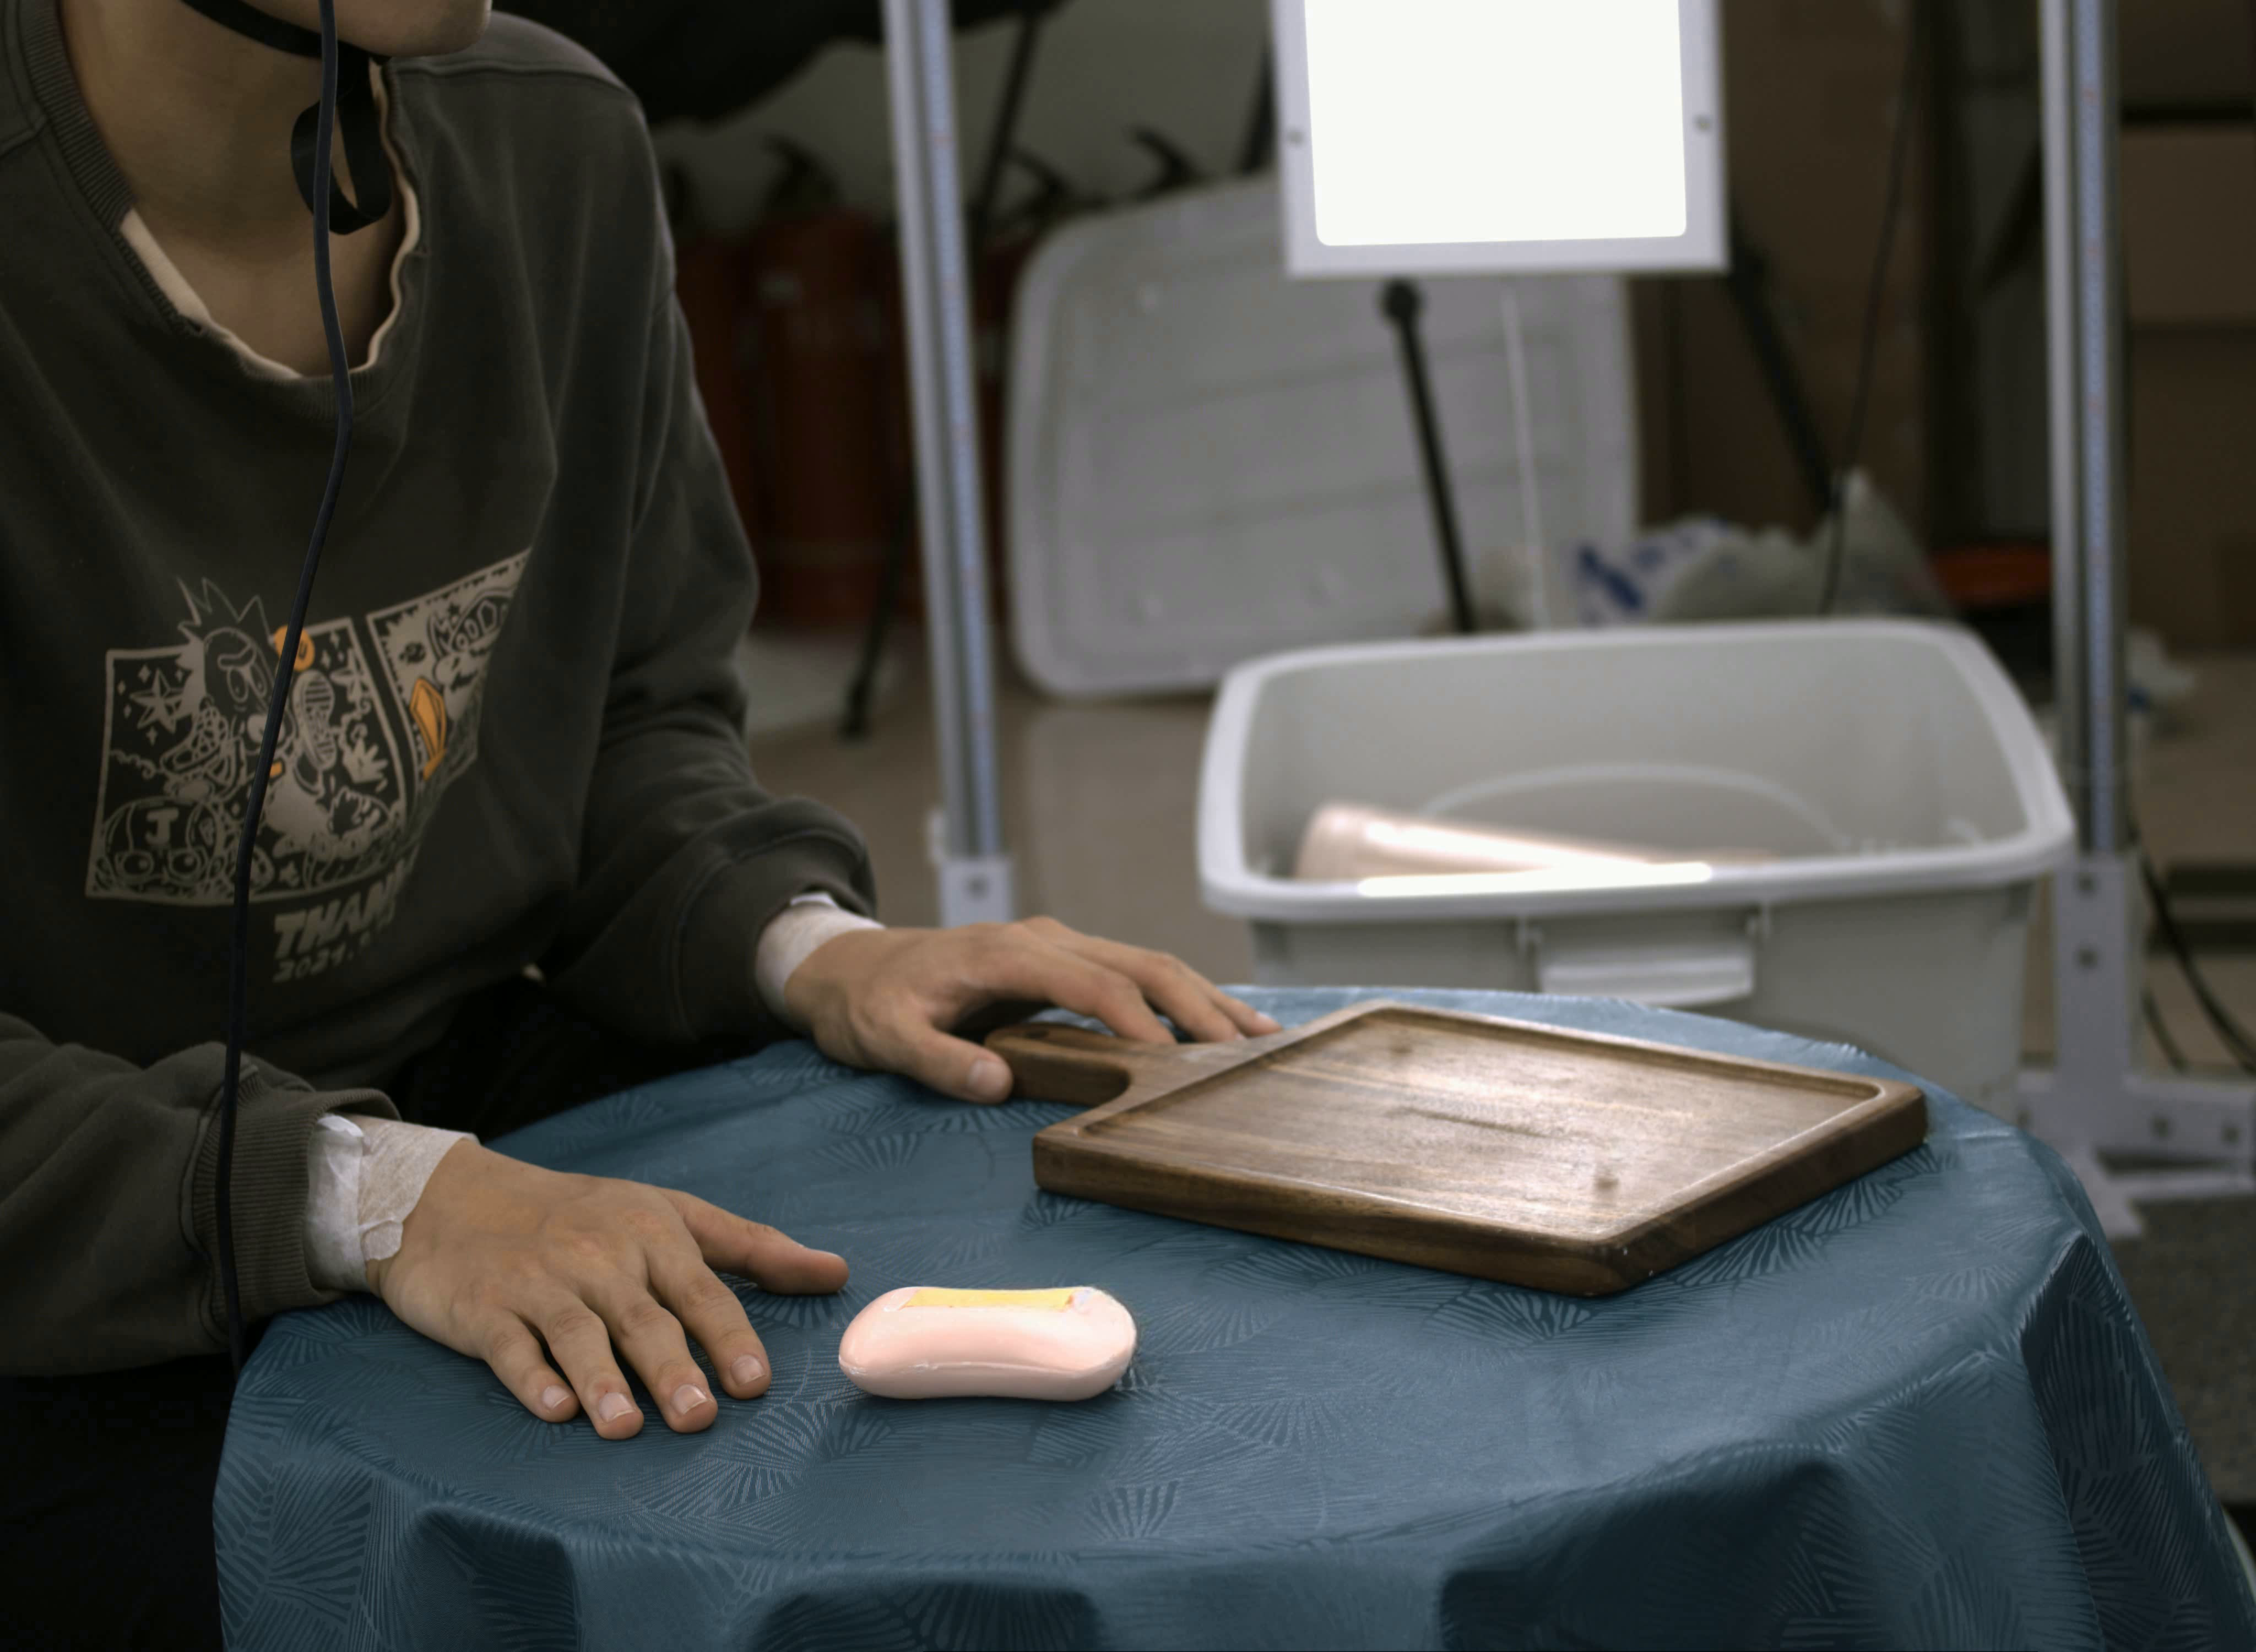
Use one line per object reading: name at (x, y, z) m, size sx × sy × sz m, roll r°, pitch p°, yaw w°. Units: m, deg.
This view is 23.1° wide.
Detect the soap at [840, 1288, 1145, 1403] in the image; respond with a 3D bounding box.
soap at (-0.042, 0.162, 1.712) m, size 0.095 × 0.030 × 0.049 m, roll -2°, pitch 13°, yaw 17°

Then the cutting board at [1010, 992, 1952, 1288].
cutting board at (0.094, 0.099, 1.930) m, size 0.360 × 0.023 × 0.196 m, roll 8°, pitch 19°, yaw 43°
